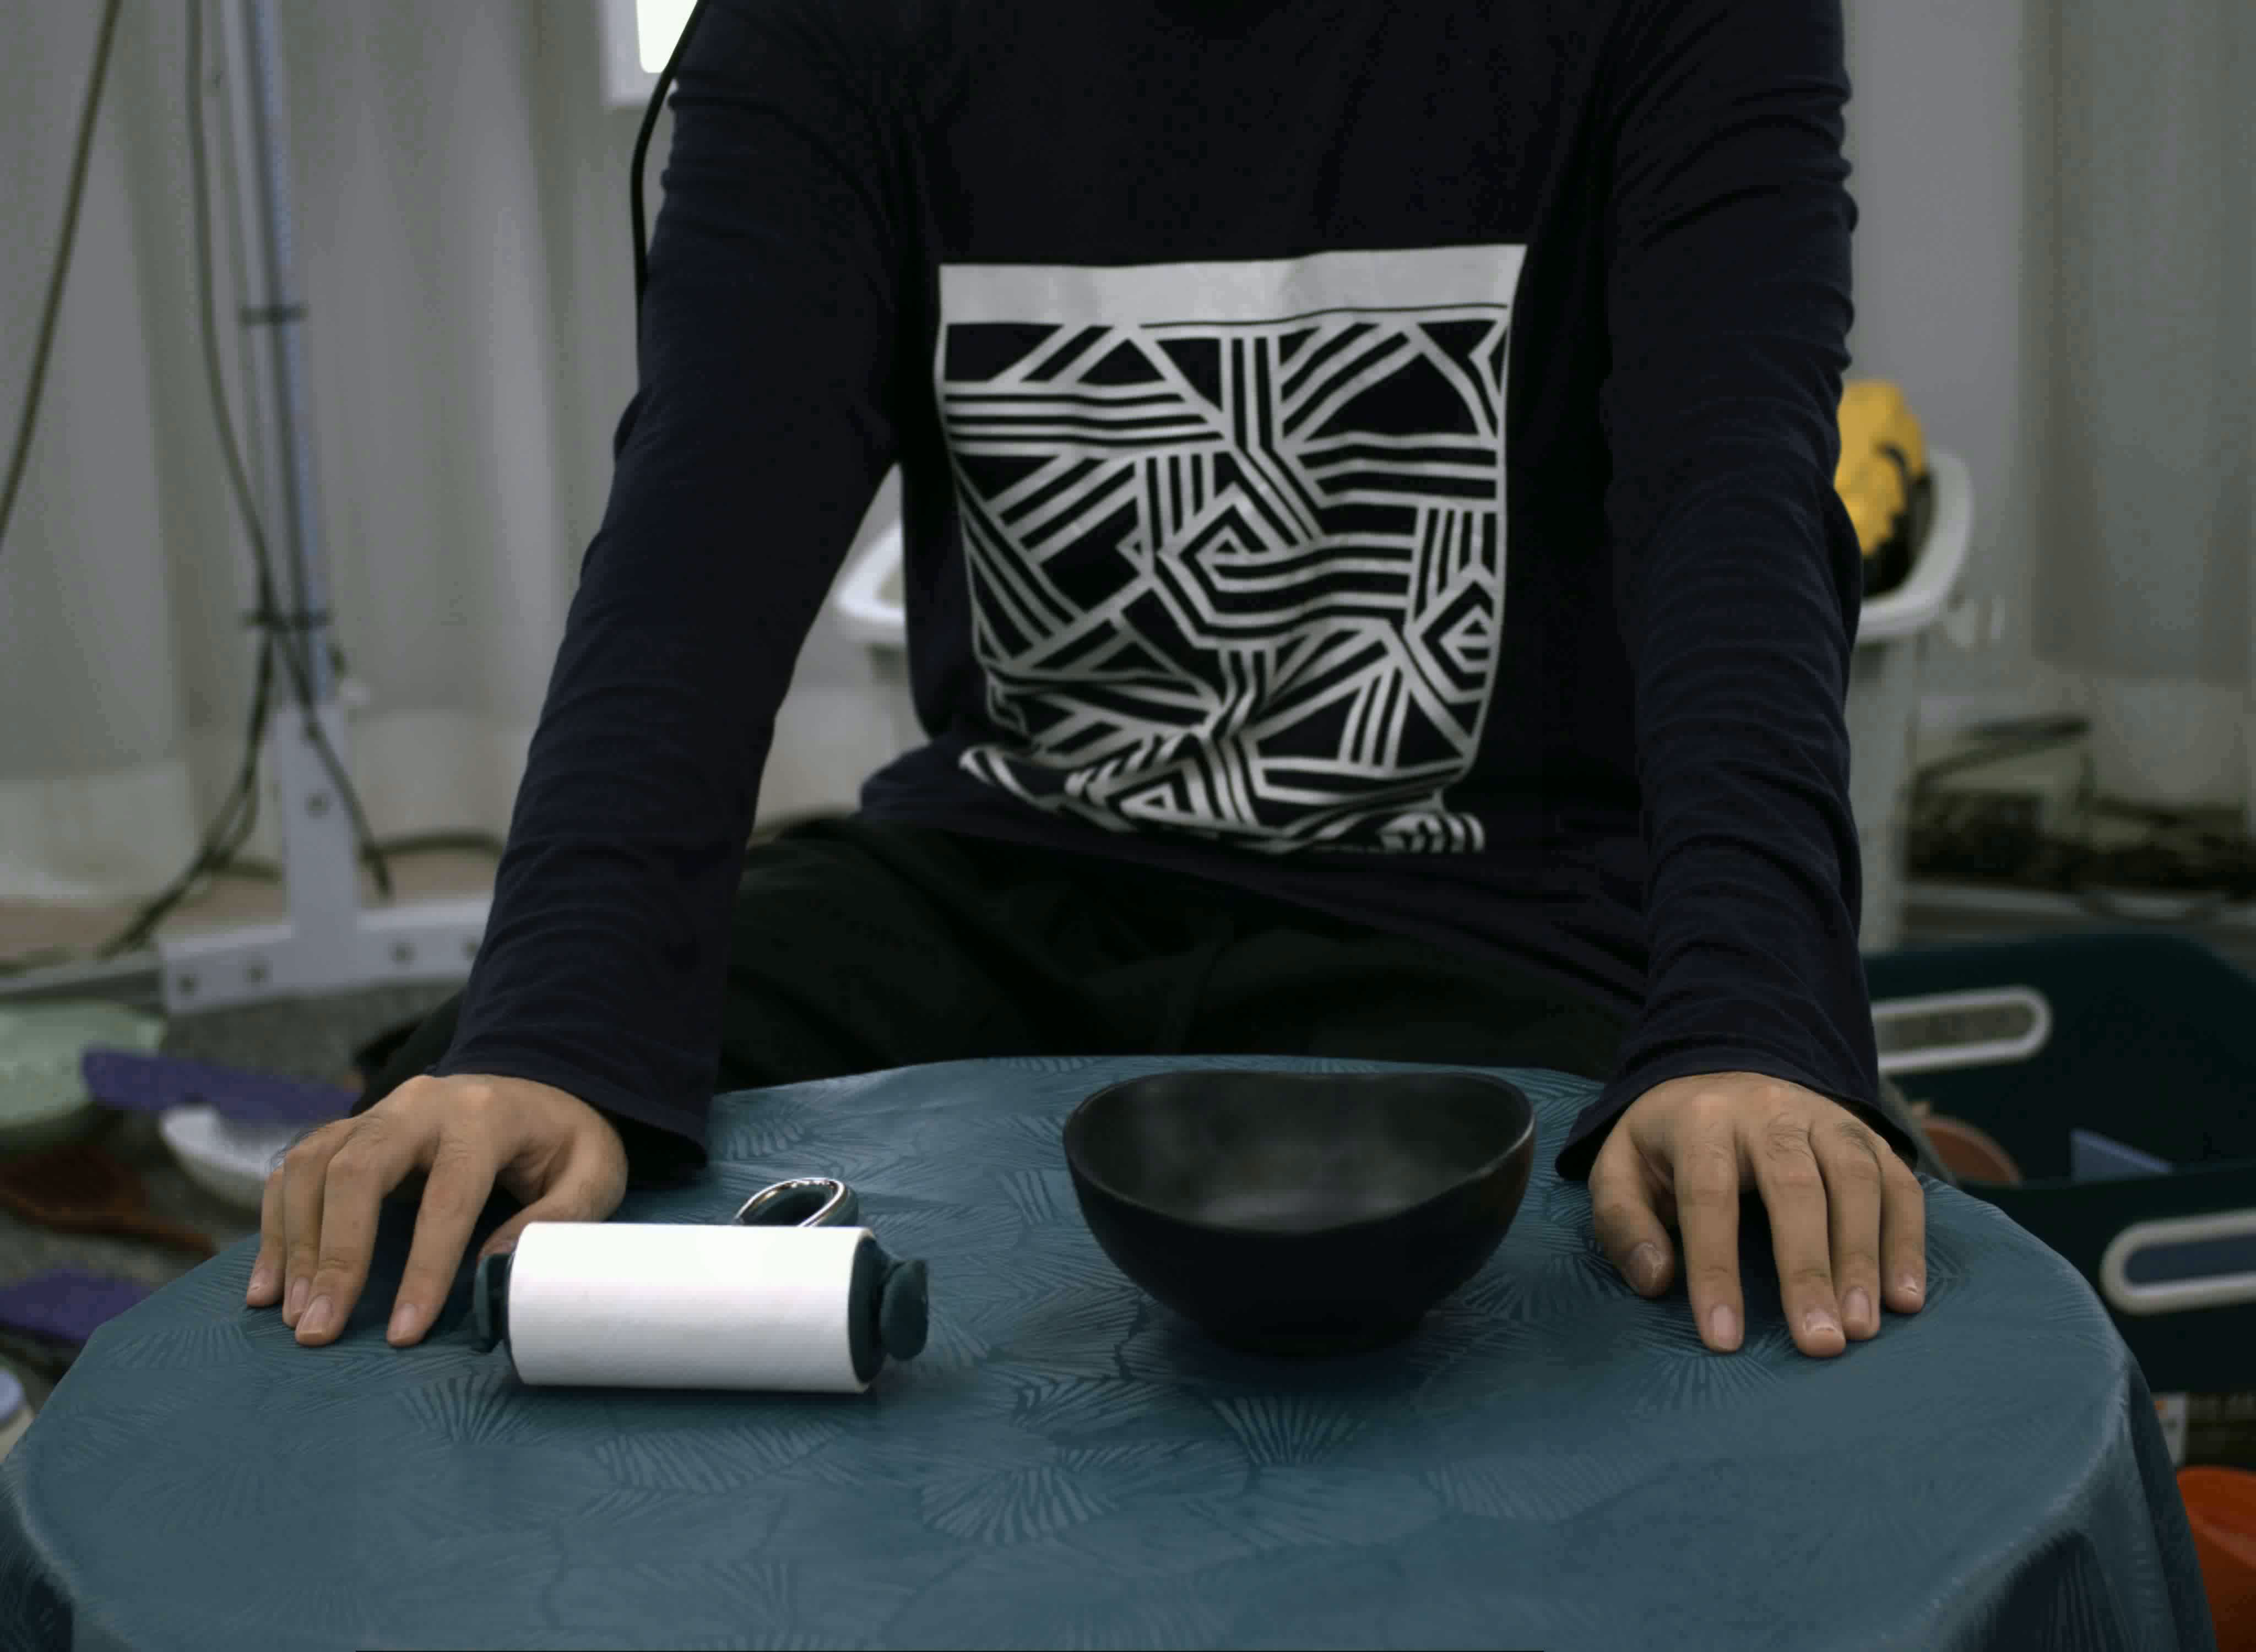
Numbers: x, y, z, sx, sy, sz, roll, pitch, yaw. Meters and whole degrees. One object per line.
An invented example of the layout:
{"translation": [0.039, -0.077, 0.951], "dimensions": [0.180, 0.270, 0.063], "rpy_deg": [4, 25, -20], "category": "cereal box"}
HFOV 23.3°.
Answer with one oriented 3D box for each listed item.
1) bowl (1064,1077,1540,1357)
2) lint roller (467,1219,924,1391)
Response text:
{"translation": [0.052, 0.114, 1.587], "dimensions": [0.137, 0.066, 0.171], "rpy_deg": [0, 13, 10], "category": "bowl"}
{"translation": [-0.113, 0.124, 1.627], "dimensions": [0.134, 0.048, 0.181], "rpy_deg": [0, 12, 10], "category": "lint roller"}
